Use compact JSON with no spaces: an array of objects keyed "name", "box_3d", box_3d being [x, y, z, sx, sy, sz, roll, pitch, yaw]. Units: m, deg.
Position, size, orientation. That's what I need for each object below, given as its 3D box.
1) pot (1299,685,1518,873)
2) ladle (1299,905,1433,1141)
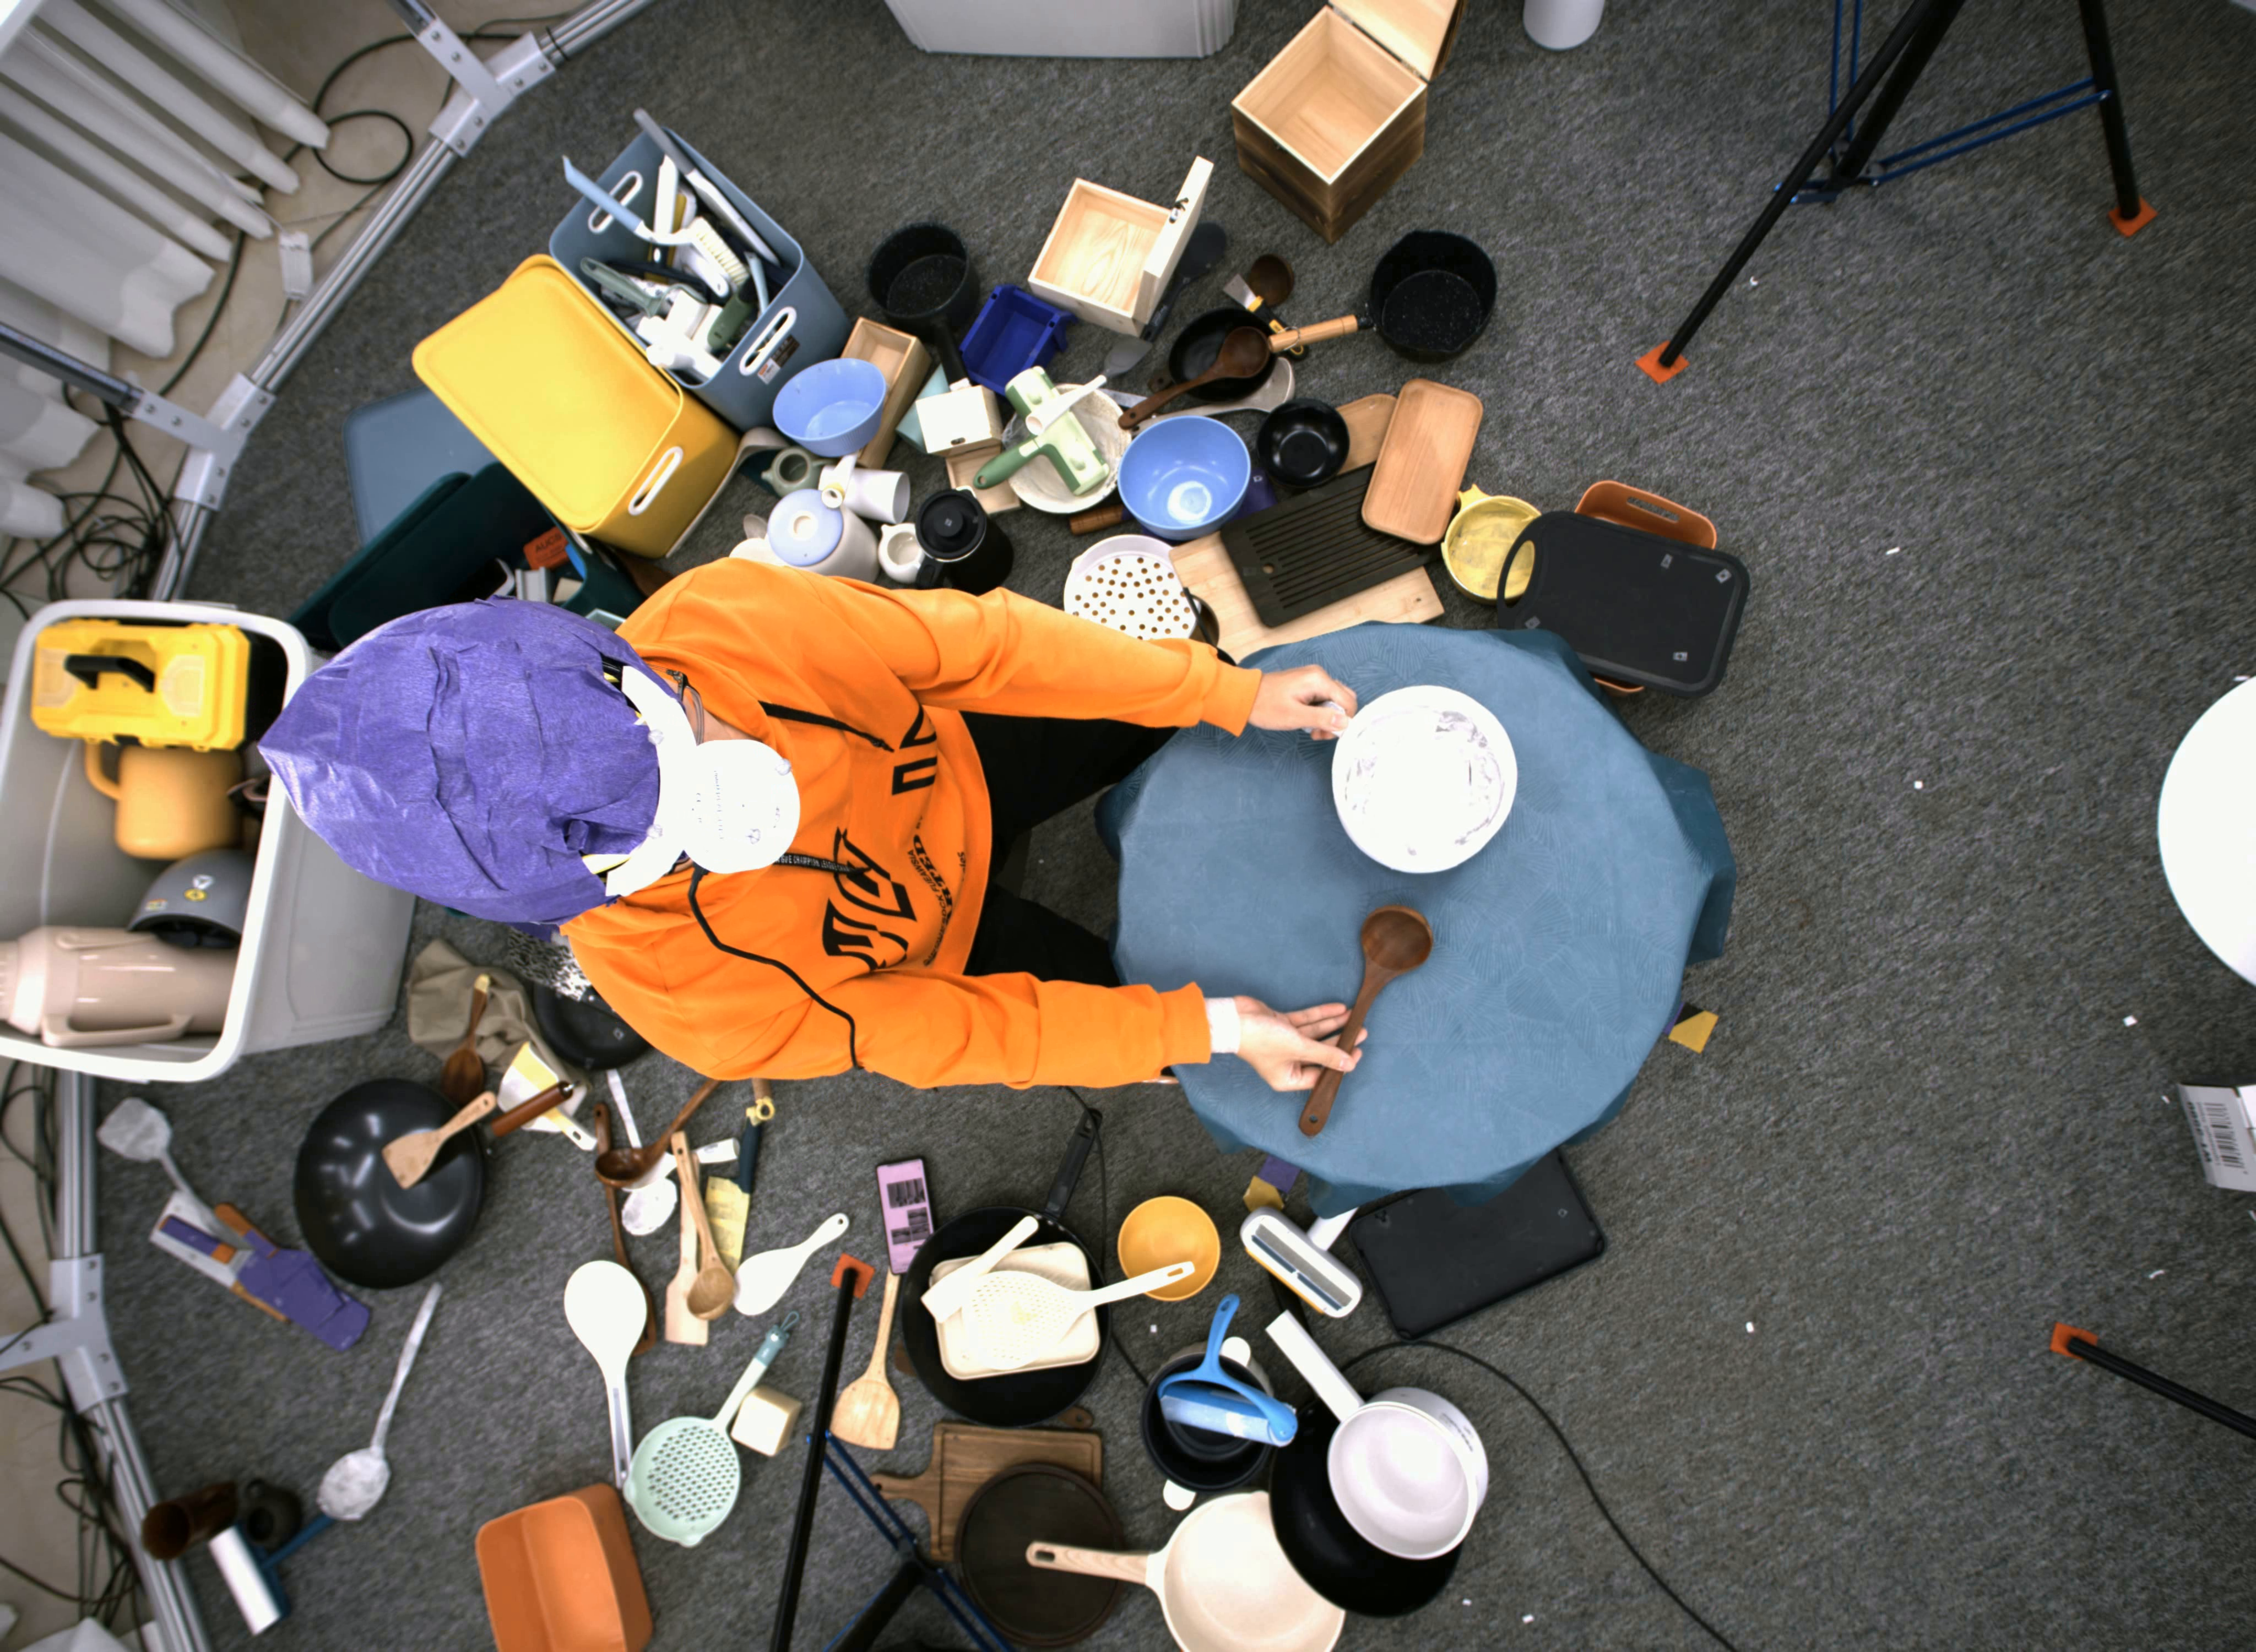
[{"name":"pot","box_3d":[0.274,-0.060,1.397,0.233,0.137,0.179,34,92,11]},{"name":"ladle","box_3d":[0.235,0.201,1.418,0.076,0.065,0.258,25,84,15]}]
